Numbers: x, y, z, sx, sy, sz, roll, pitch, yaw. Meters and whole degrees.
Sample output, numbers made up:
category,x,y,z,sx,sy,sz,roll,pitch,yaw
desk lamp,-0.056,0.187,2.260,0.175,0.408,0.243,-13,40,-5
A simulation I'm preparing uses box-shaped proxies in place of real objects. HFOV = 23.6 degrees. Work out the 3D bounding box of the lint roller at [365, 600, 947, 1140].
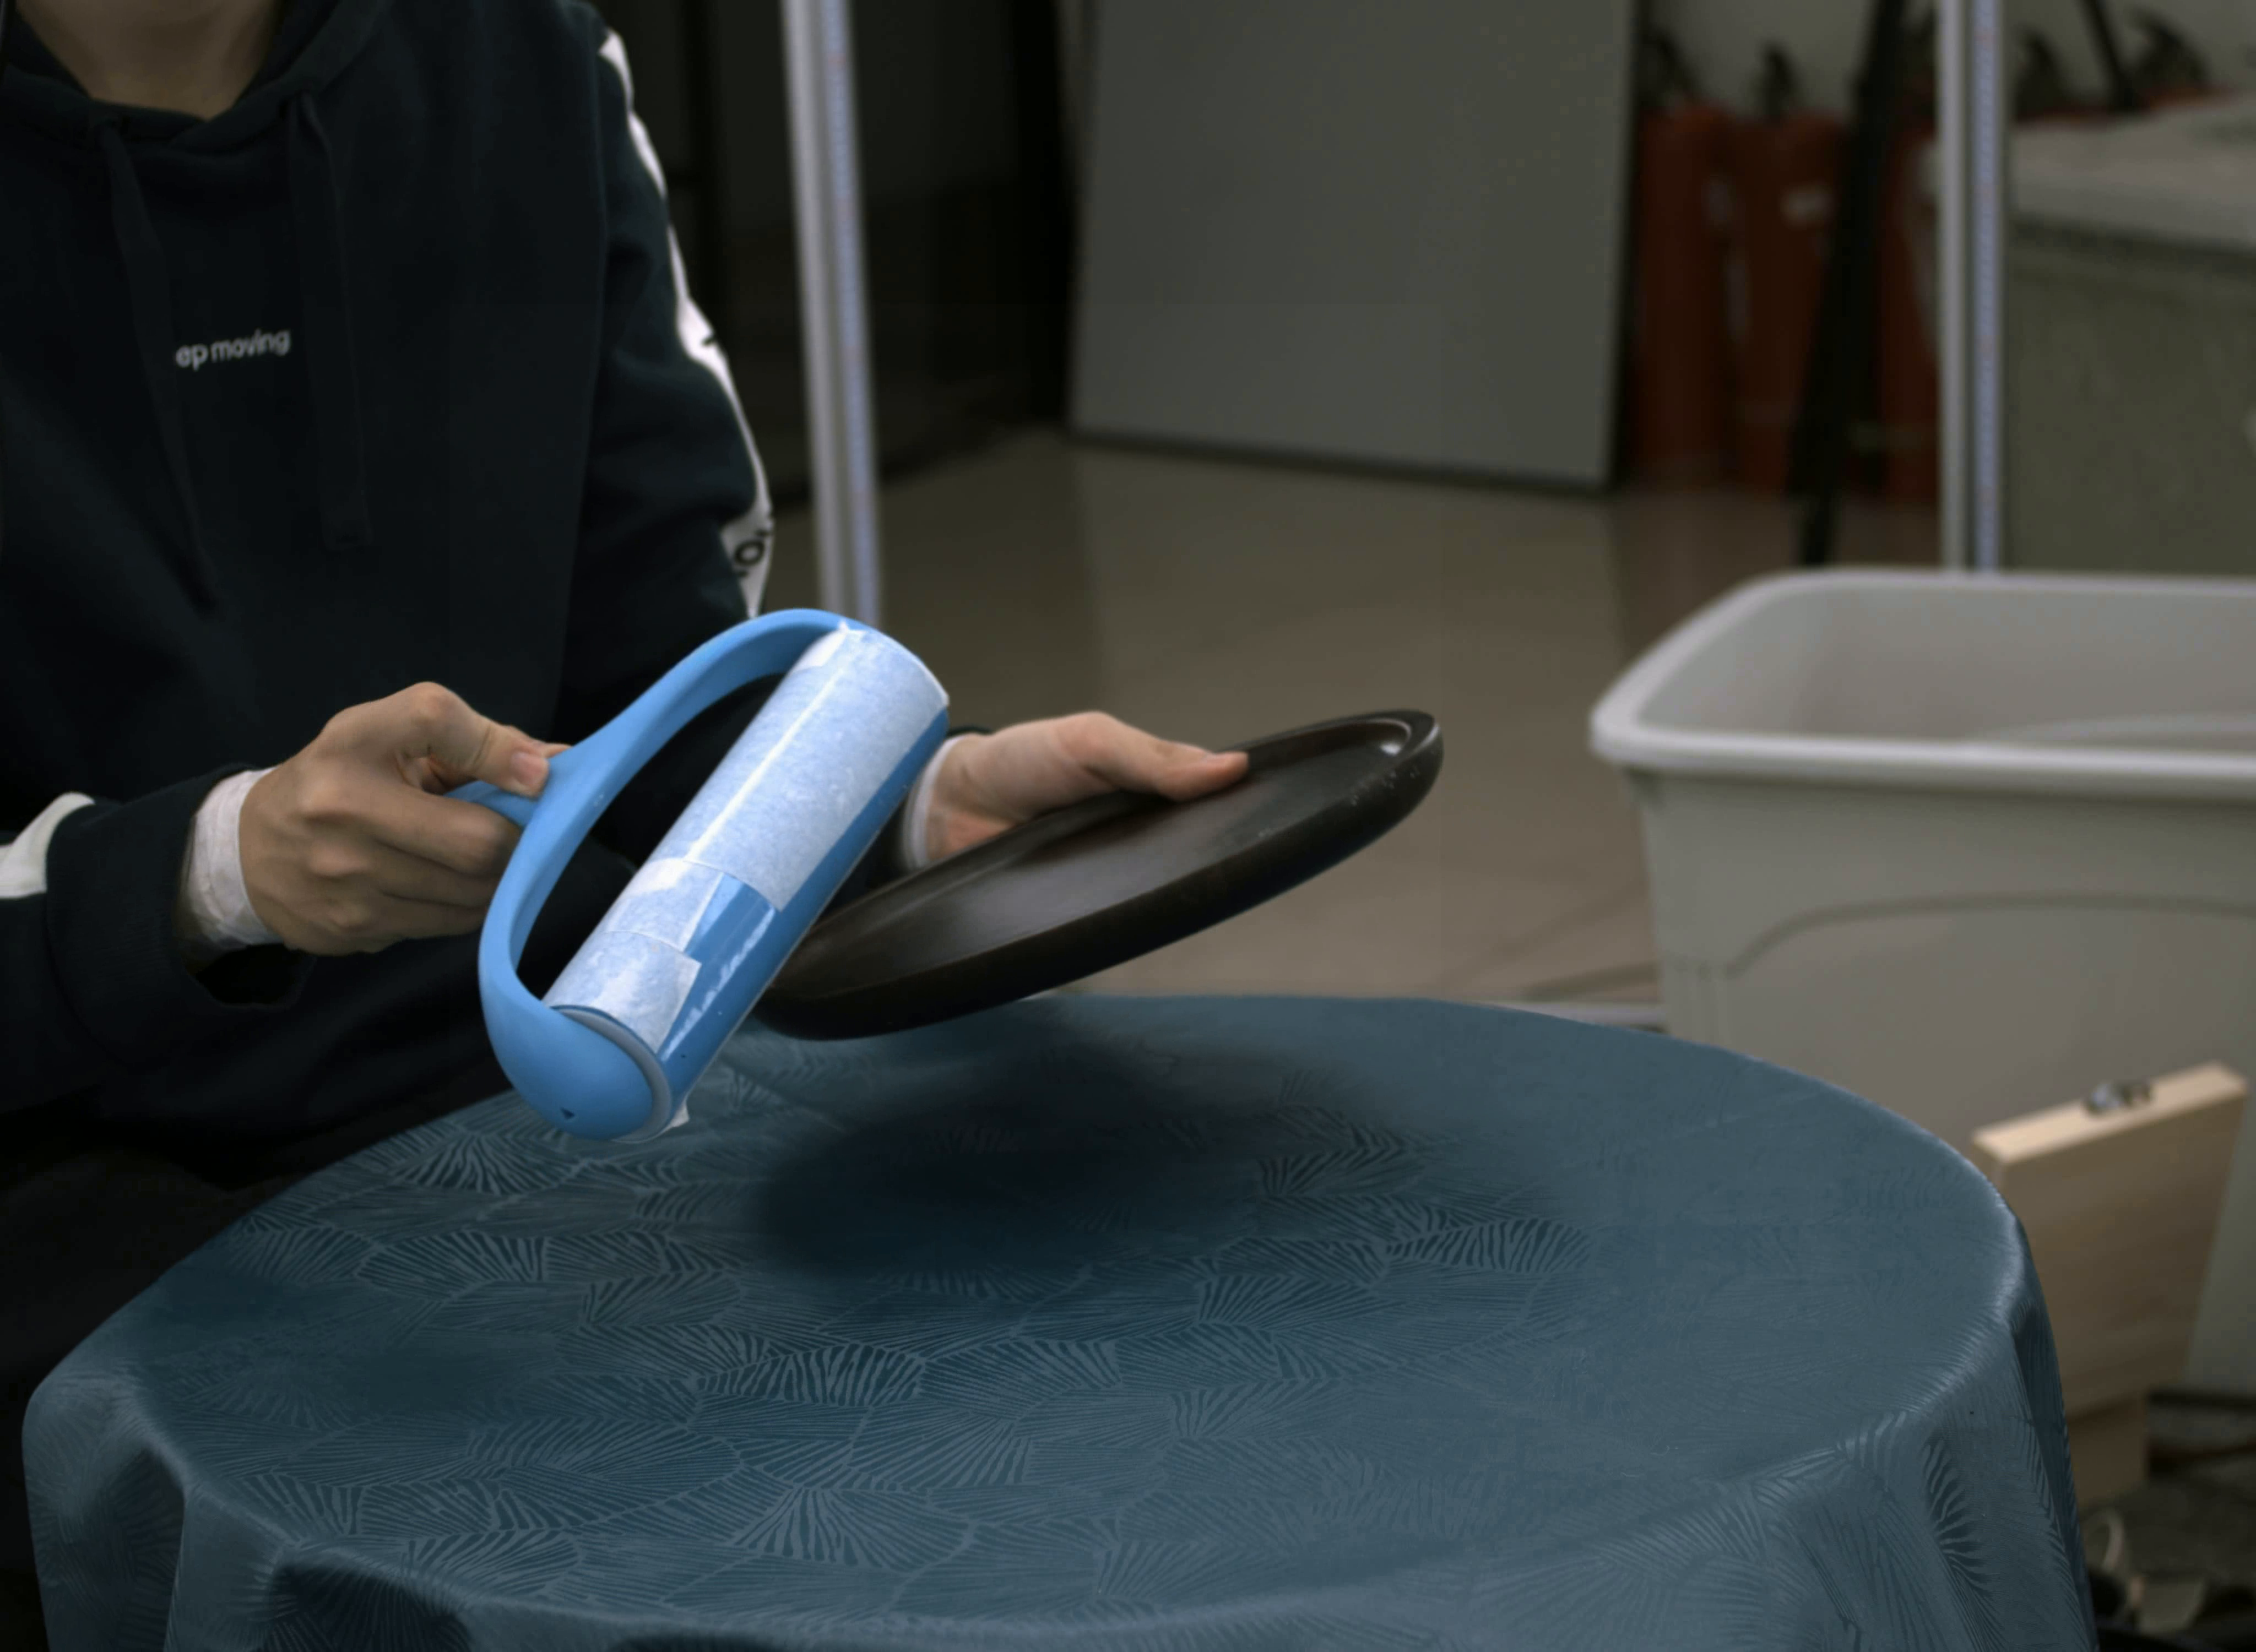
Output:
category,x,y,z,sx,sy,sz,roll,pitch,yaw
lint roller,-0.173,0.011,1.702,0.180,0.068,0.228,2,41,26

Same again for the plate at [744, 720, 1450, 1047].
category,x,y,z,sx,sy,sz,roll,pitch,yaw
plate,-0.009,0.019,1.799,0.252,0.029,0.255,-20,8,2
